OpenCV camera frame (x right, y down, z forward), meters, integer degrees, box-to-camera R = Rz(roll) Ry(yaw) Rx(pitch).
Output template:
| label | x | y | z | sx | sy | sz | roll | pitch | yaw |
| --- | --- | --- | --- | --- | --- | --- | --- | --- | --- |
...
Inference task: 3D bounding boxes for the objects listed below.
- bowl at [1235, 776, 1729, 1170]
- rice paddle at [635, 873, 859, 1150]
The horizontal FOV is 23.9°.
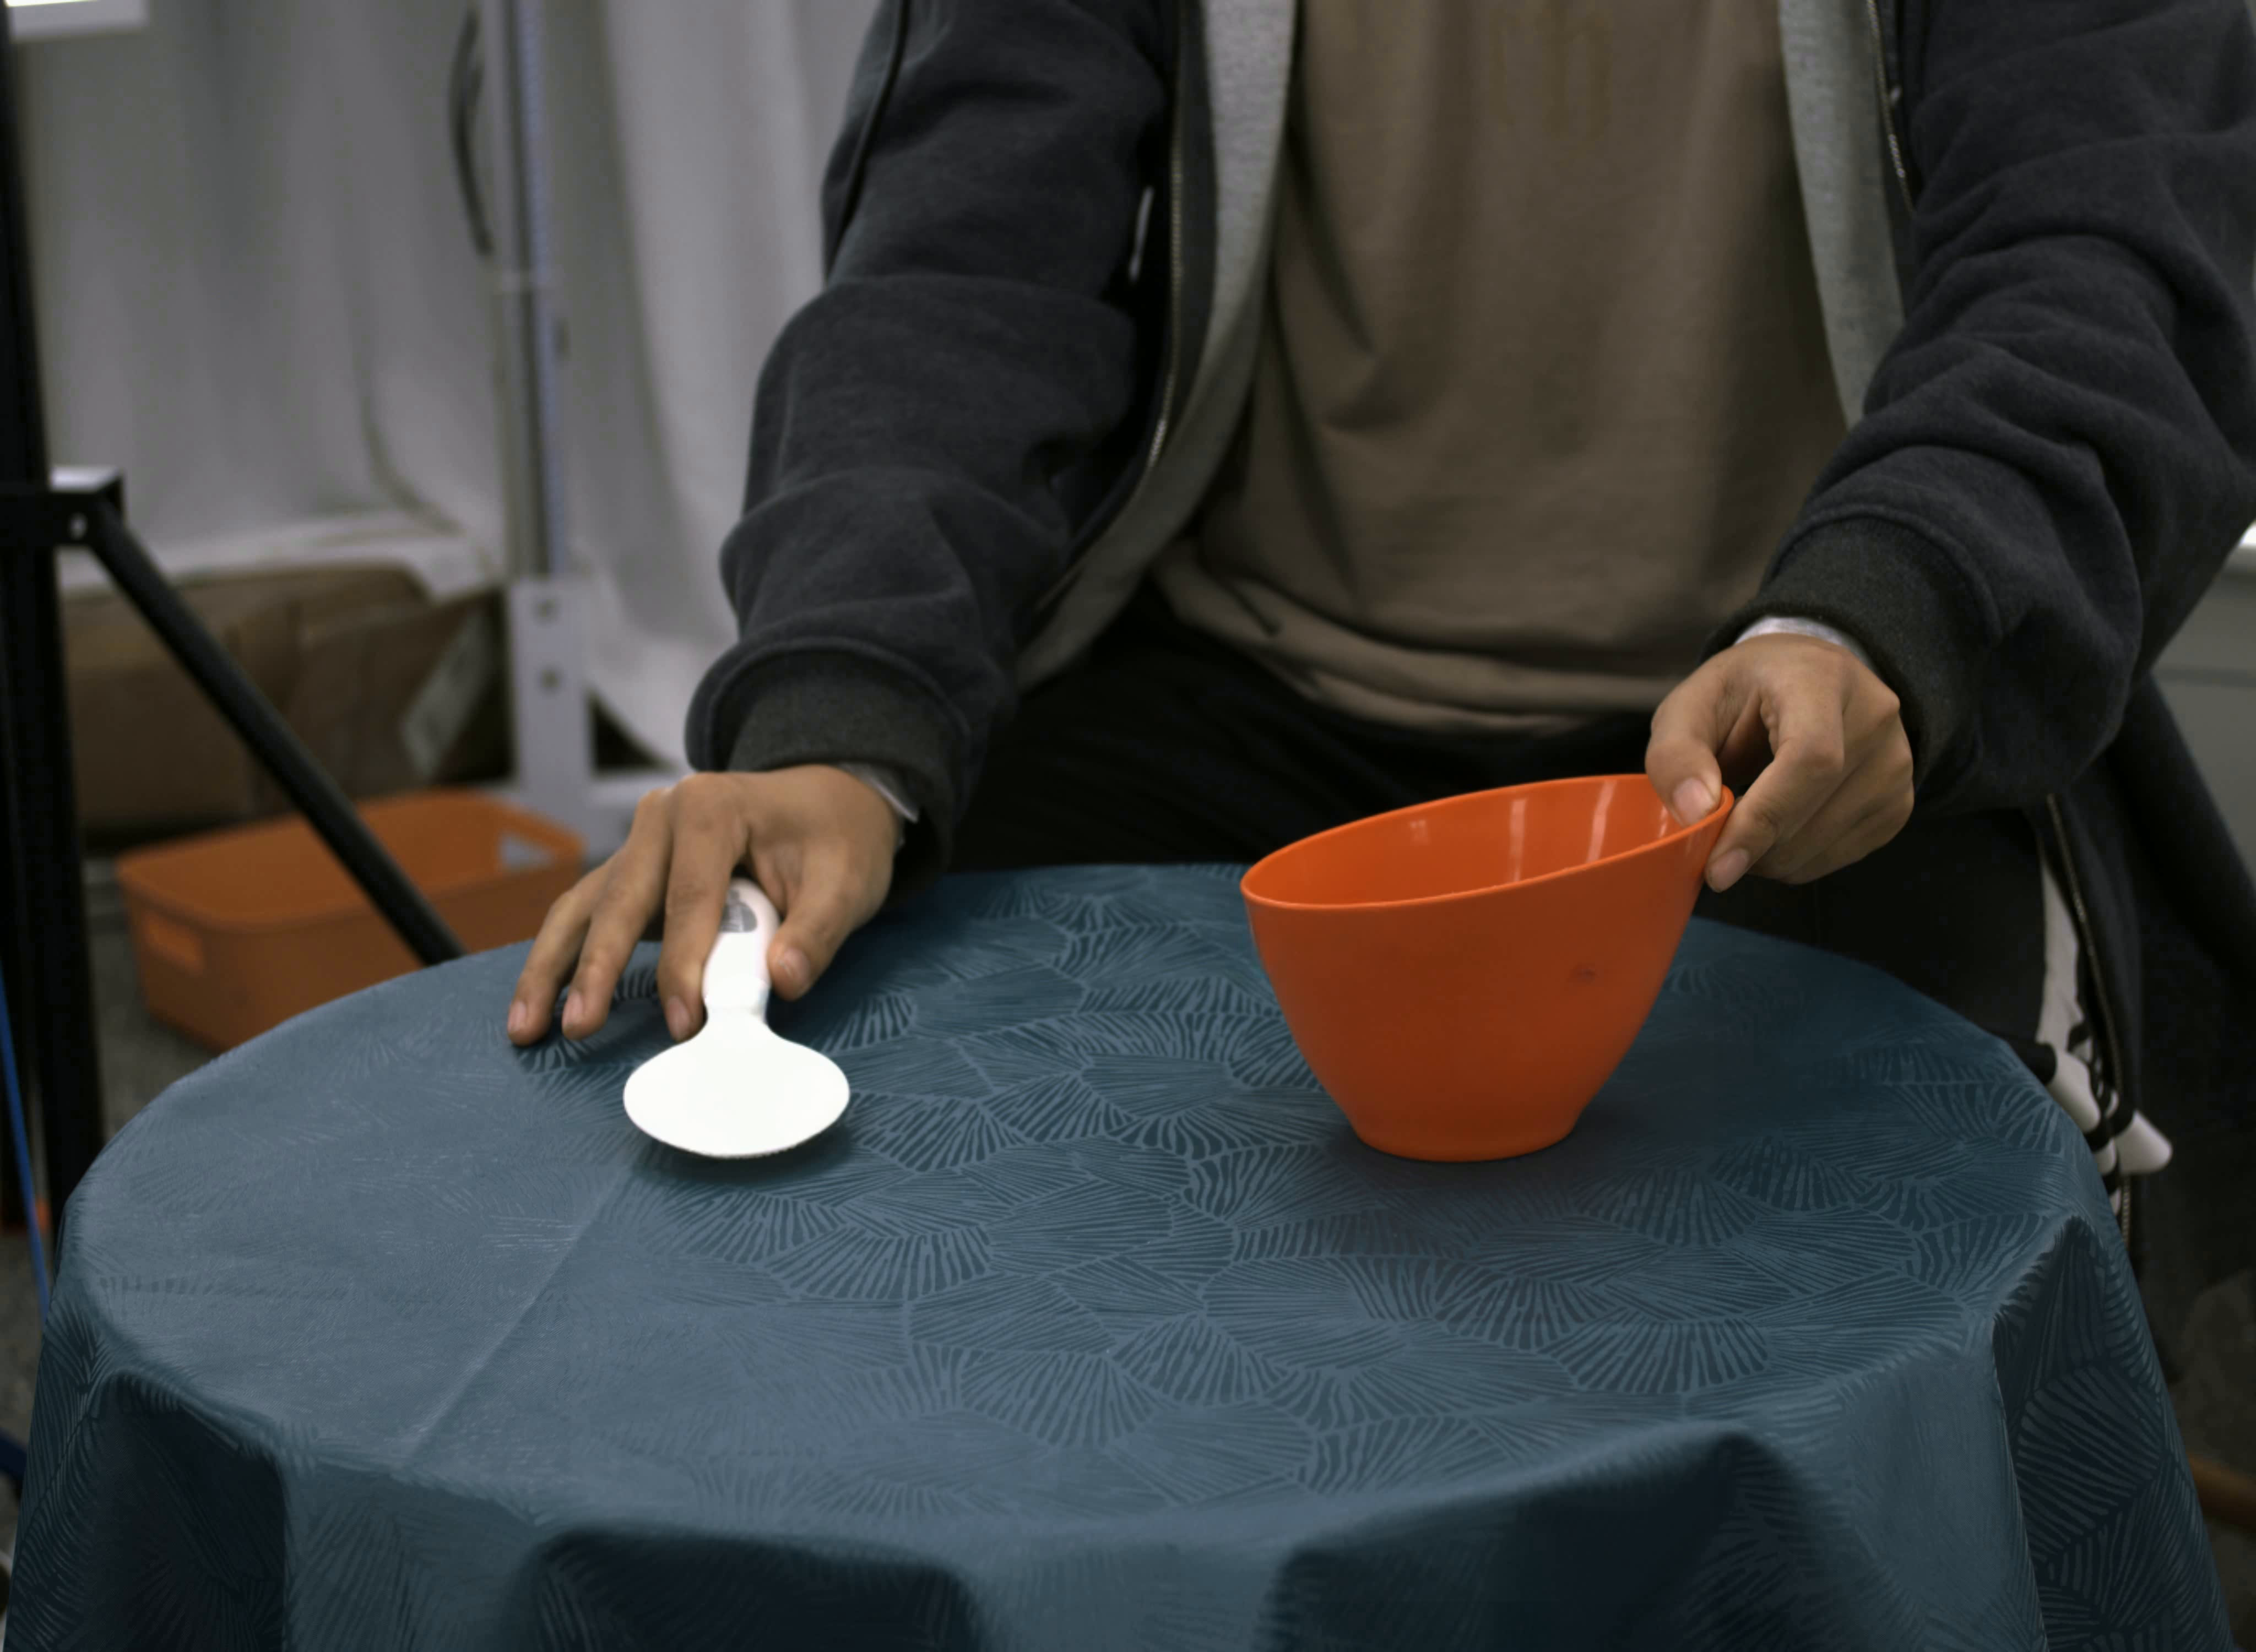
| label | x | y | z | sx | sy | sz | roll | pitch | yaw |
| --- | --- | --- | --- | --- | --- | --- | --- | --- | --- |
| bowl | 0.107 | 0.045 | 1.580 | 0.147 | 0.104 | 0.149 | -5 | 16 | 0 |
| rice paddle | -0.122 | 0.061 | 1.679 | 0.068 | 0.029 | 0.207 | -3 | 18 | -5 |
